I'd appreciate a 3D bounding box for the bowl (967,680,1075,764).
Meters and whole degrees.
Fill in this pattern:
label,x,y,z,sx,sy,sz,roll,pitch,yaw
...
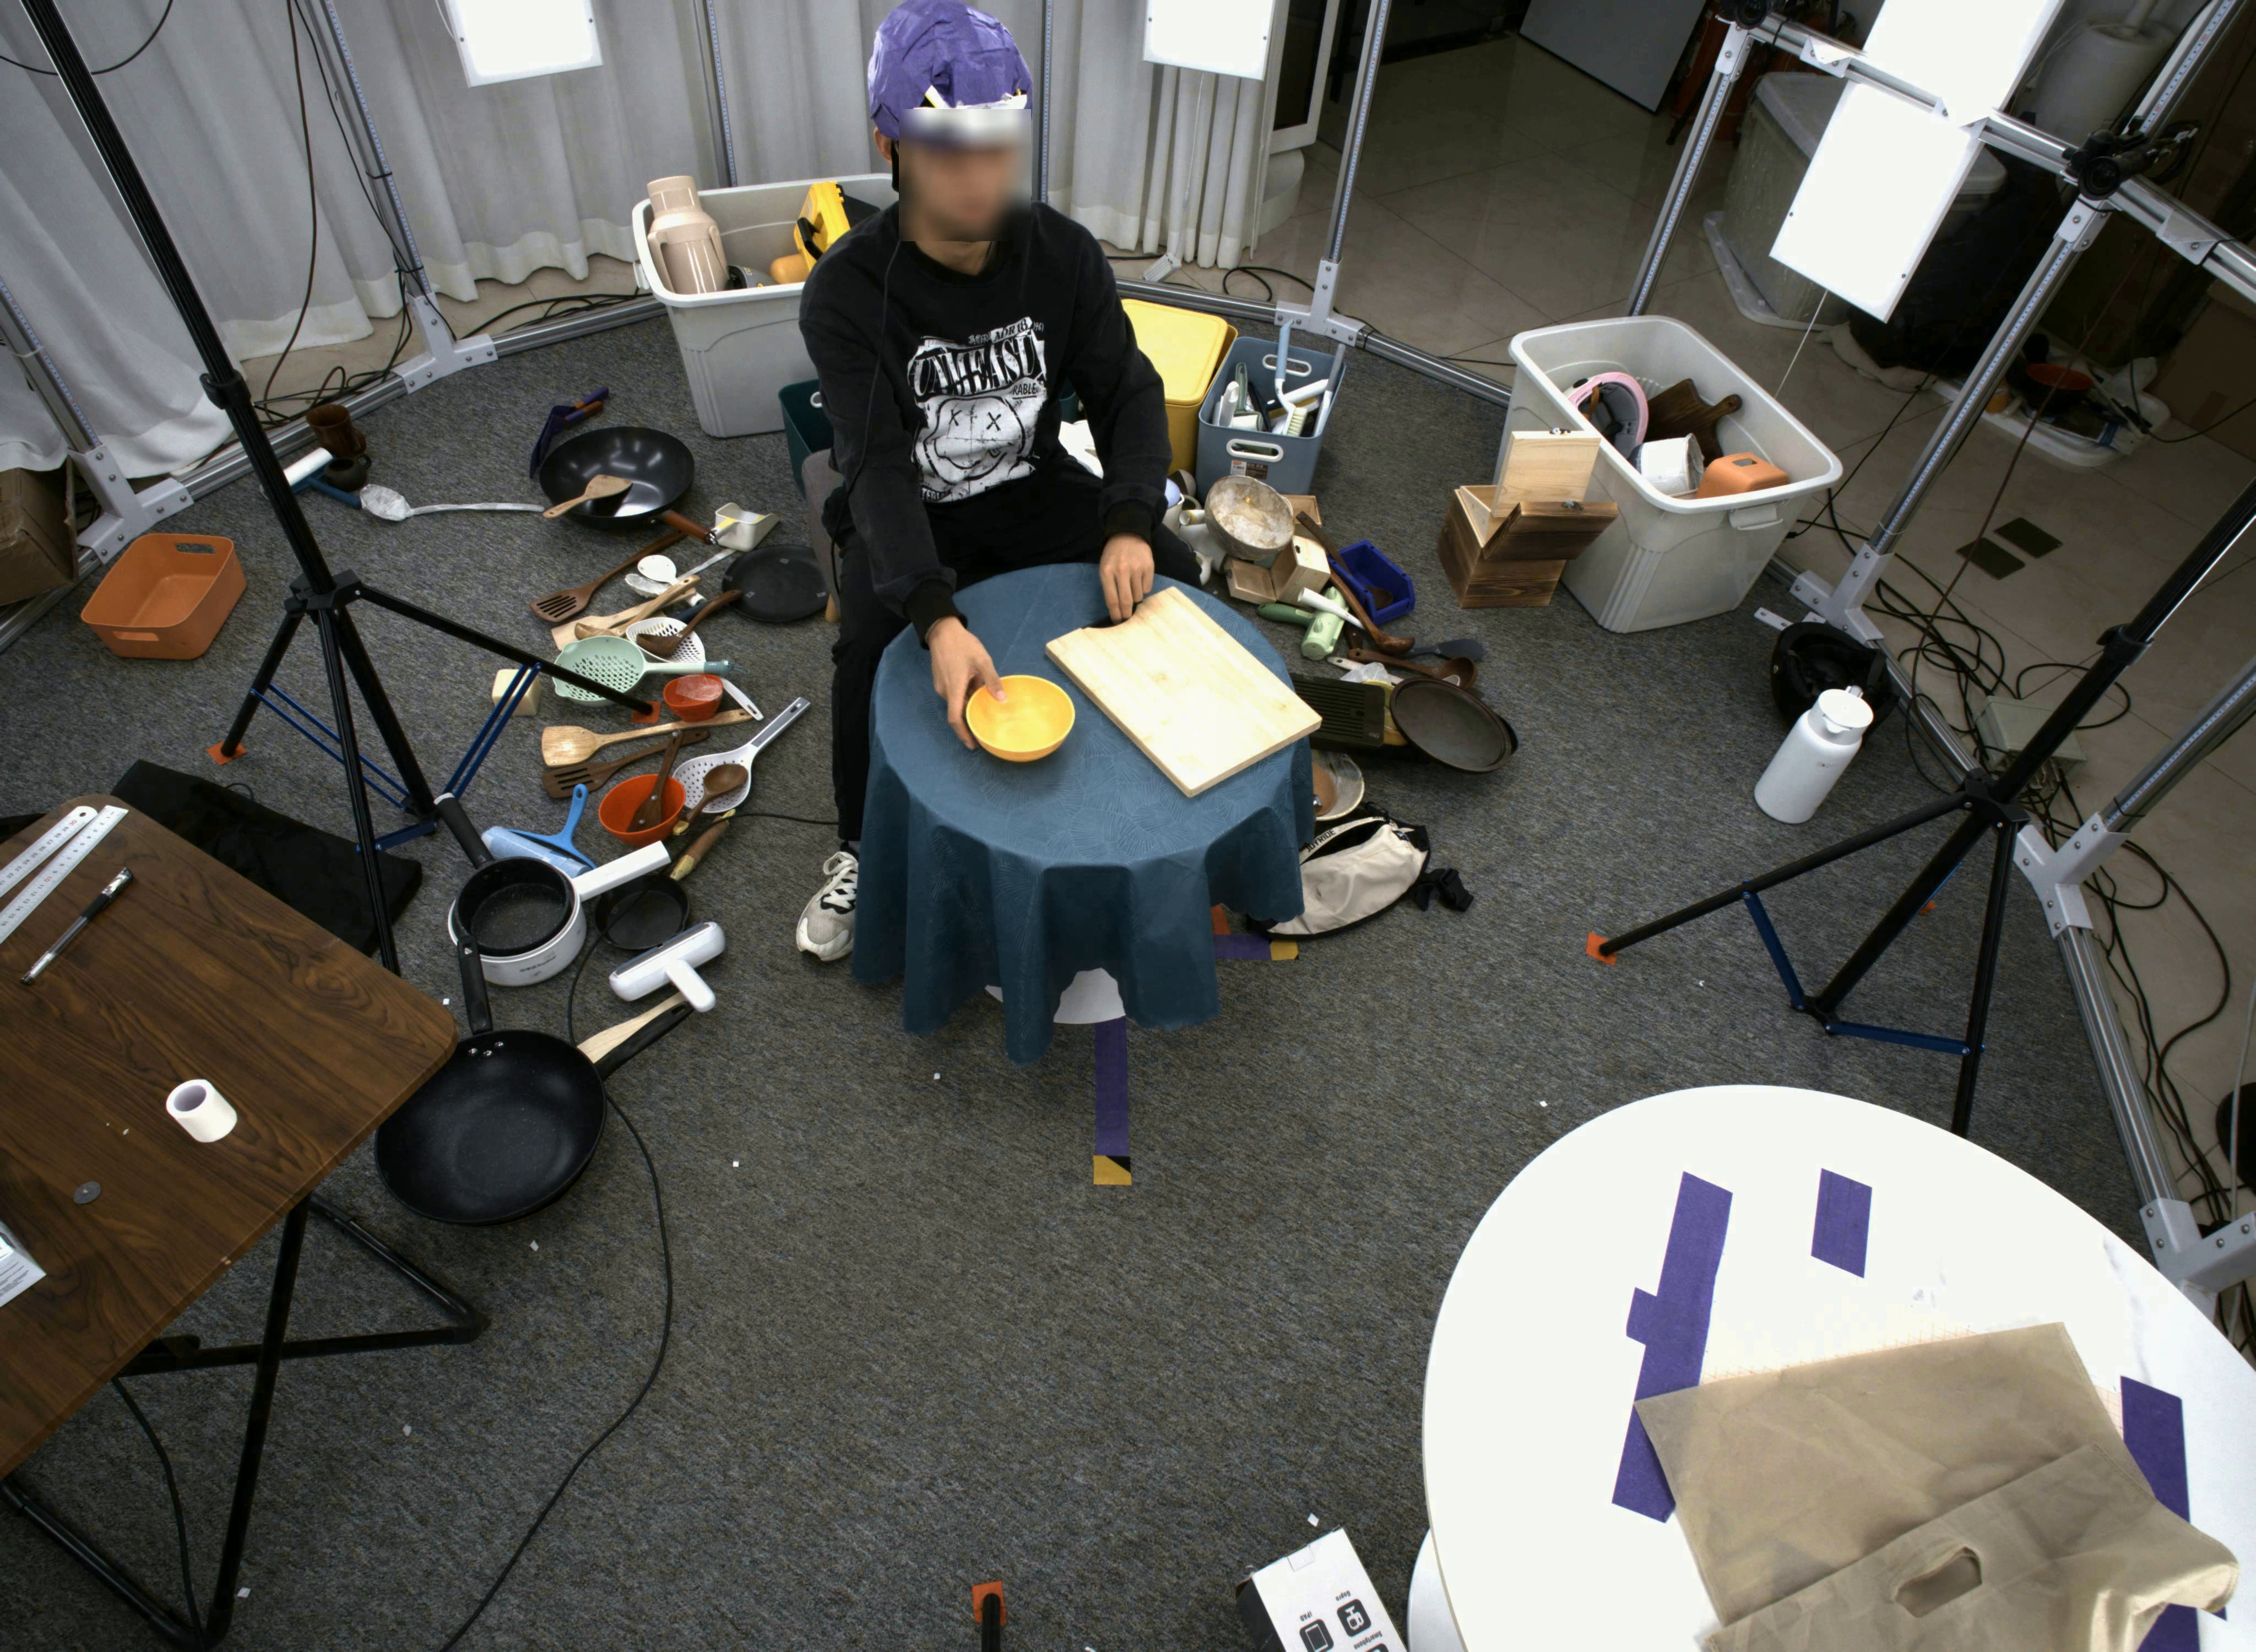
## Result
label,x,y,z,sx,sy,sz,roll,pitch,yaw
bowl,-0.146,-0.131,1.753,0.145,0.058,0.149,3,46,-3

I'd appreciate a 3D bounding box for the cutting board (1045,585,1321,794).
label,x,y,z,sx,sy,sz,roll,pitch,yaw
cutting board,0.075,-0.205,1.858,0.252,0.023,0.355,-28,56,-26
